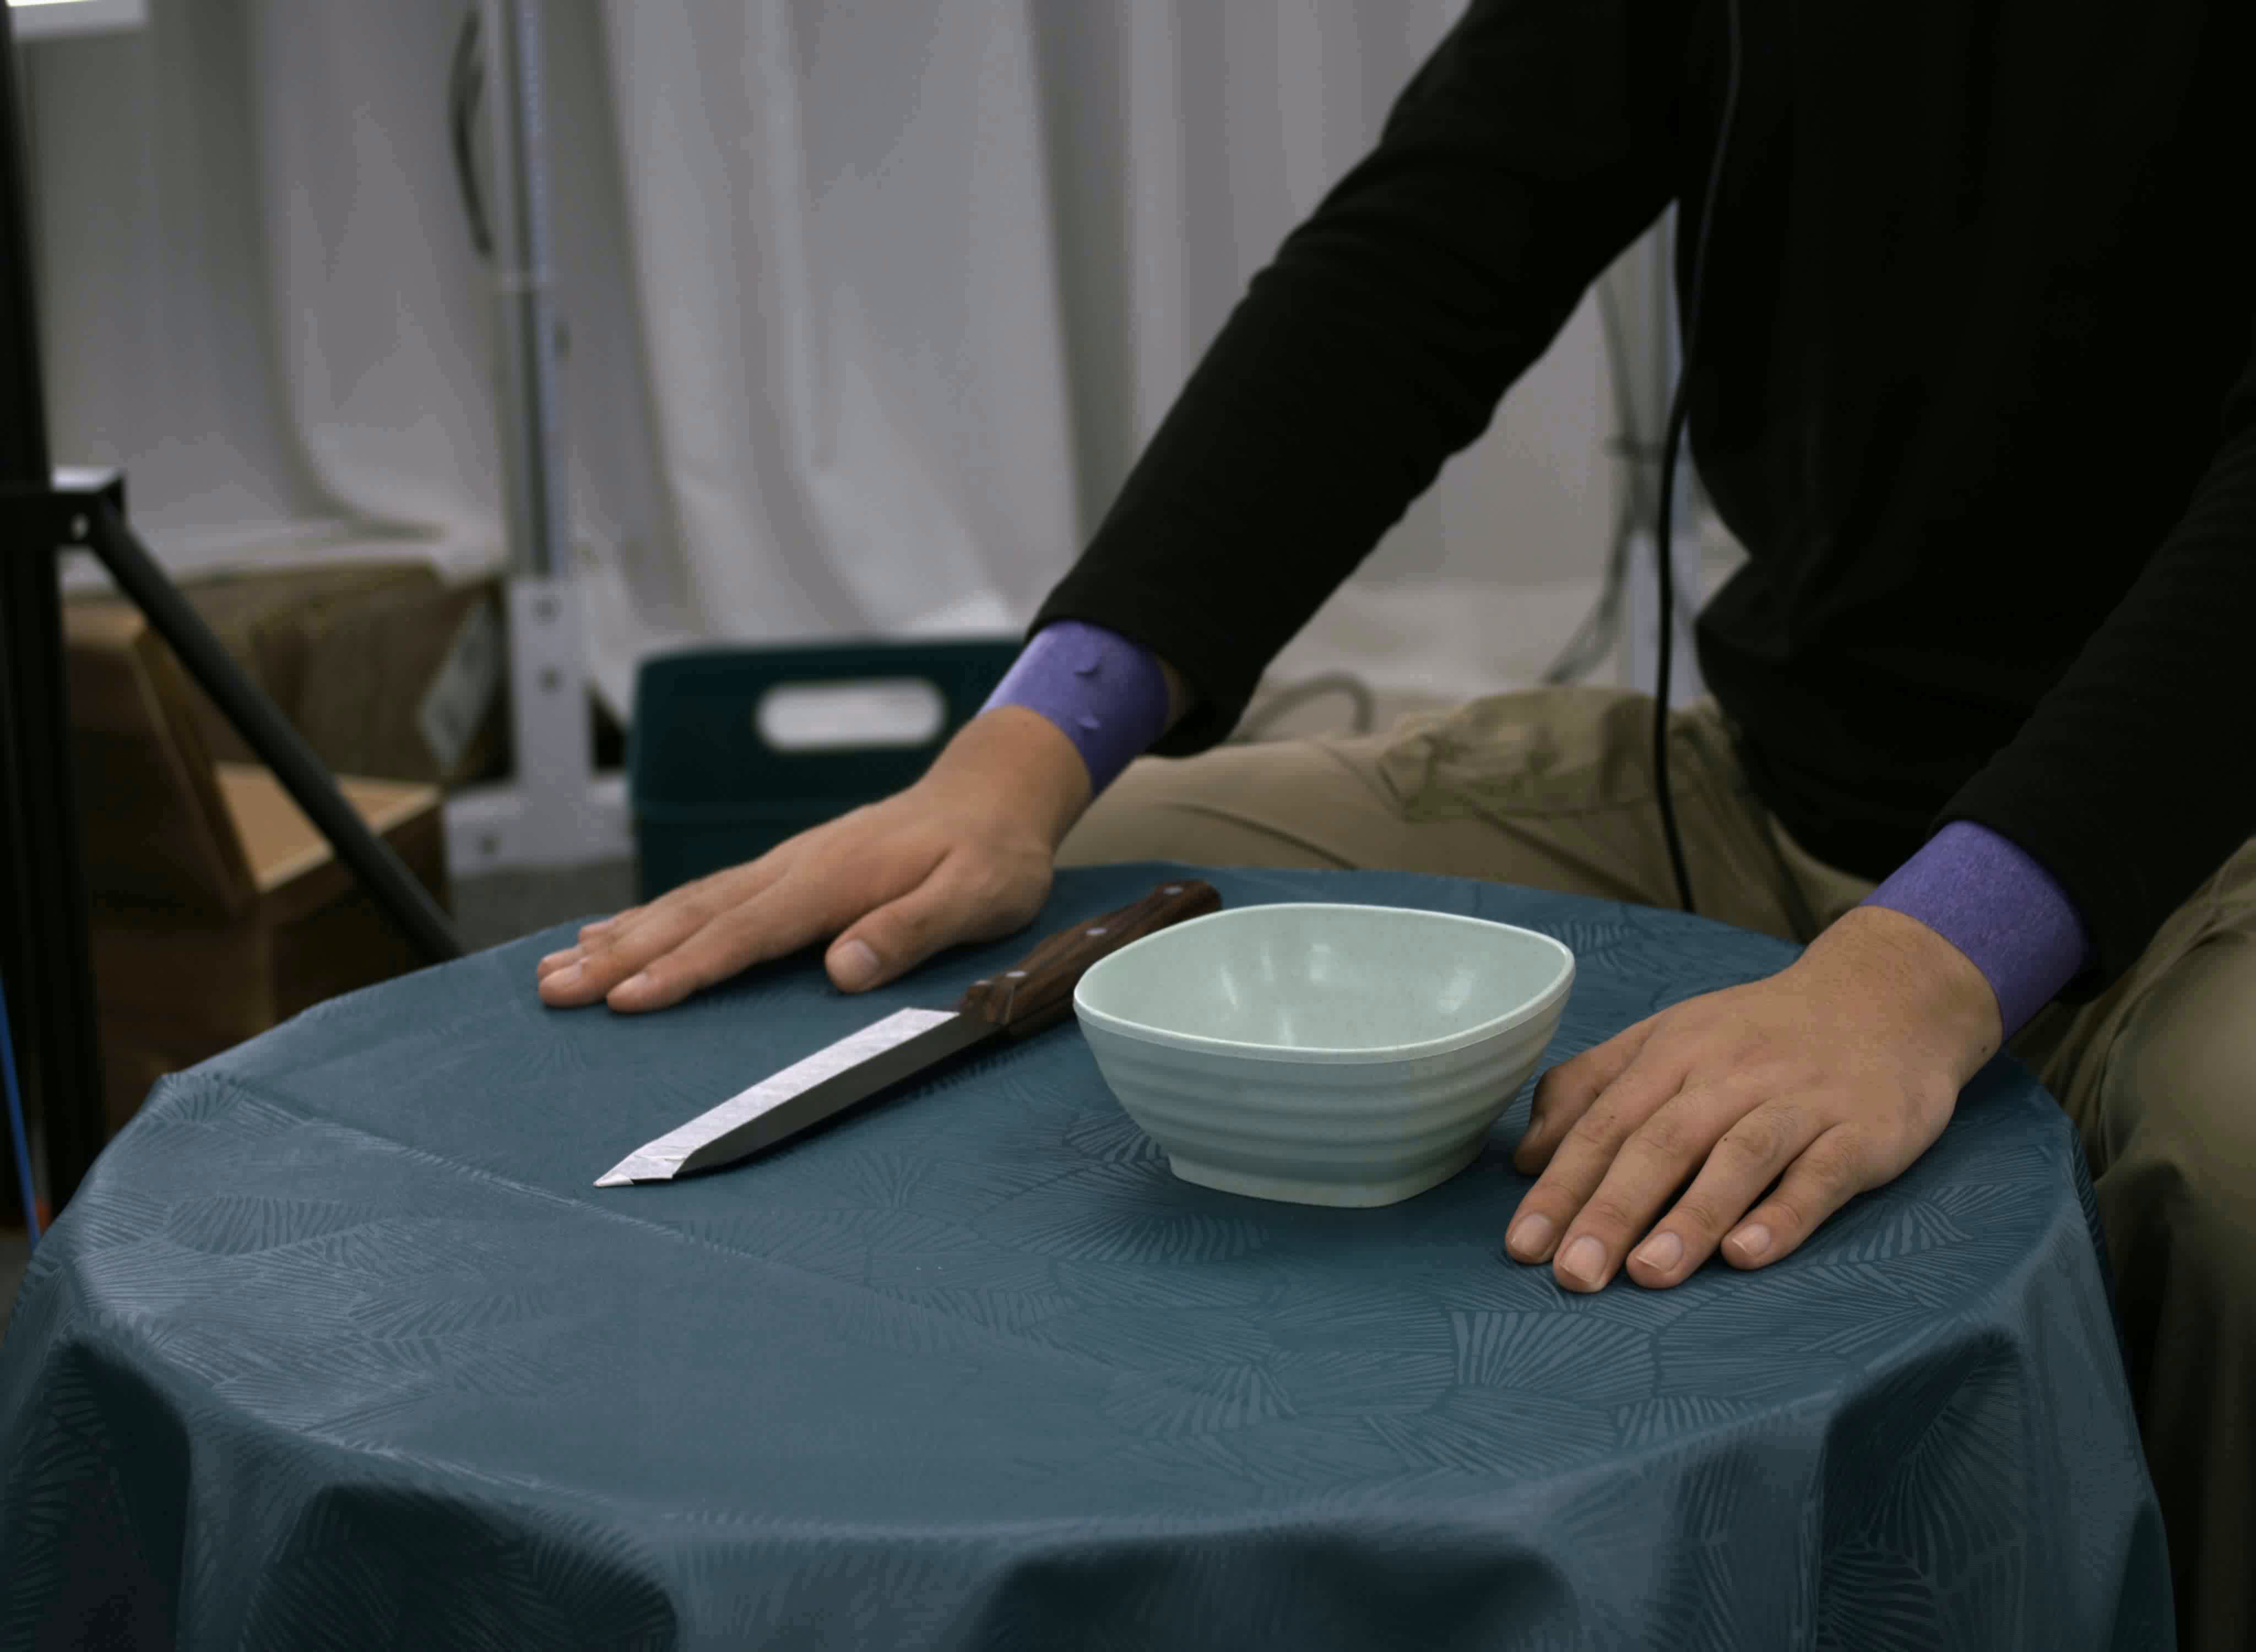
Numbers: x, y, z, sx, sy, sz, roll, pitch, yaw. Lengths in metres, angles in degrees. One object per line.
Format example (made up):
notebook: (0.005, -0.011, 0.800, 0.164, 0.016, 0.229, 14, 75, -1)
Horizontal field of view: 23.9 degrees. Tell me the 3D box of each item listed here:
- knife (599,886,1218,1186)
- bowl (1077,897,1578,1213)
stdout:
knife: (-0.064, 0.068, 1.681, 0.051, 0.020, 0.283, 5, 19, 40)
bowl: (0.061, 0.071, 1.570, 0.151, 0.058, 0.152, -4, 17, 0)
